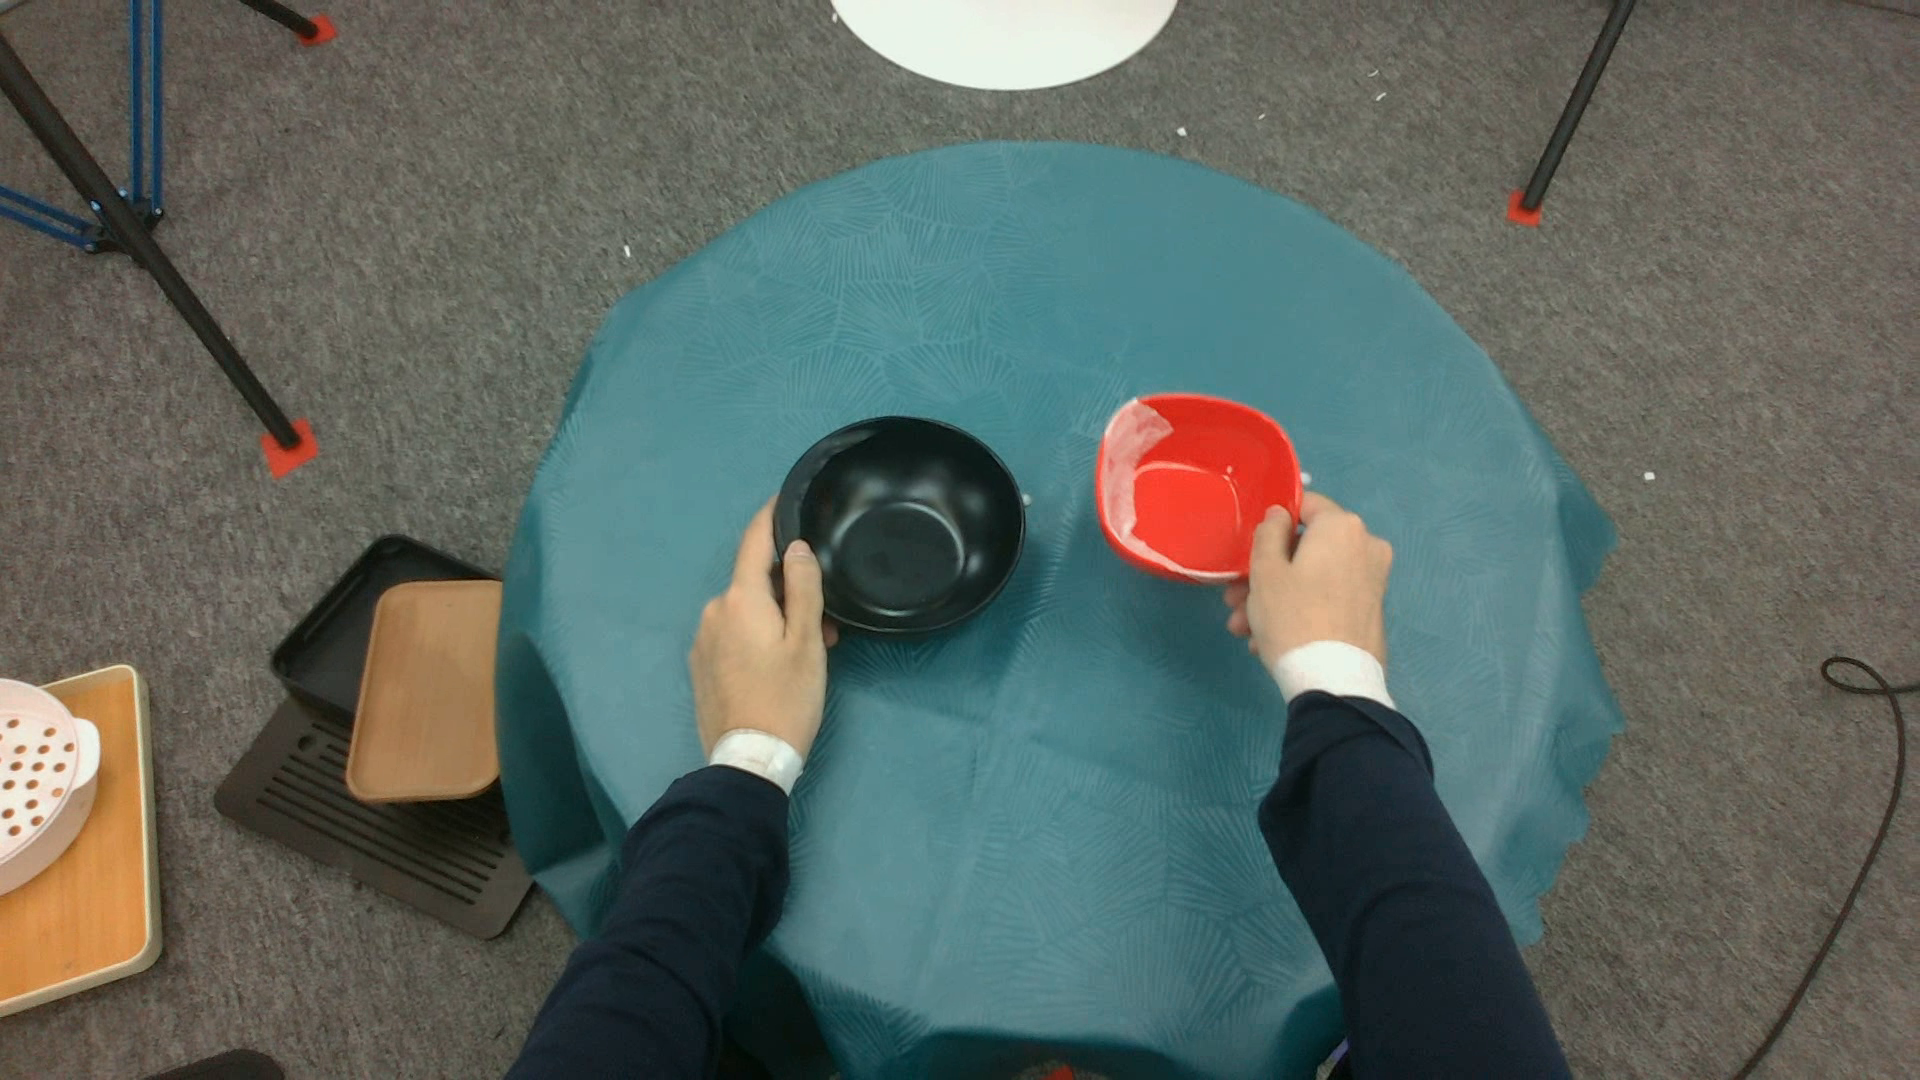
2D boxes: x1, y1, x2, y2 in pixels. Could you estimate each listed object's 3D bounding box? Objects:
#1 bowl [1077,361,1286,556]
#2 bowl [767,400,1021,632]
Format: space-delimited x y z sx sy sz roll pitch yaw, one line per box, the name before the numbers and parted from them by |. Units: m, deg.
bowl | 0.113 -0.035 0.736 0.119 0.051 0.119 3 64 -7
bowl | -0.037 -0.007 0.772 0.140 0.049 0.140 1 65 -1
